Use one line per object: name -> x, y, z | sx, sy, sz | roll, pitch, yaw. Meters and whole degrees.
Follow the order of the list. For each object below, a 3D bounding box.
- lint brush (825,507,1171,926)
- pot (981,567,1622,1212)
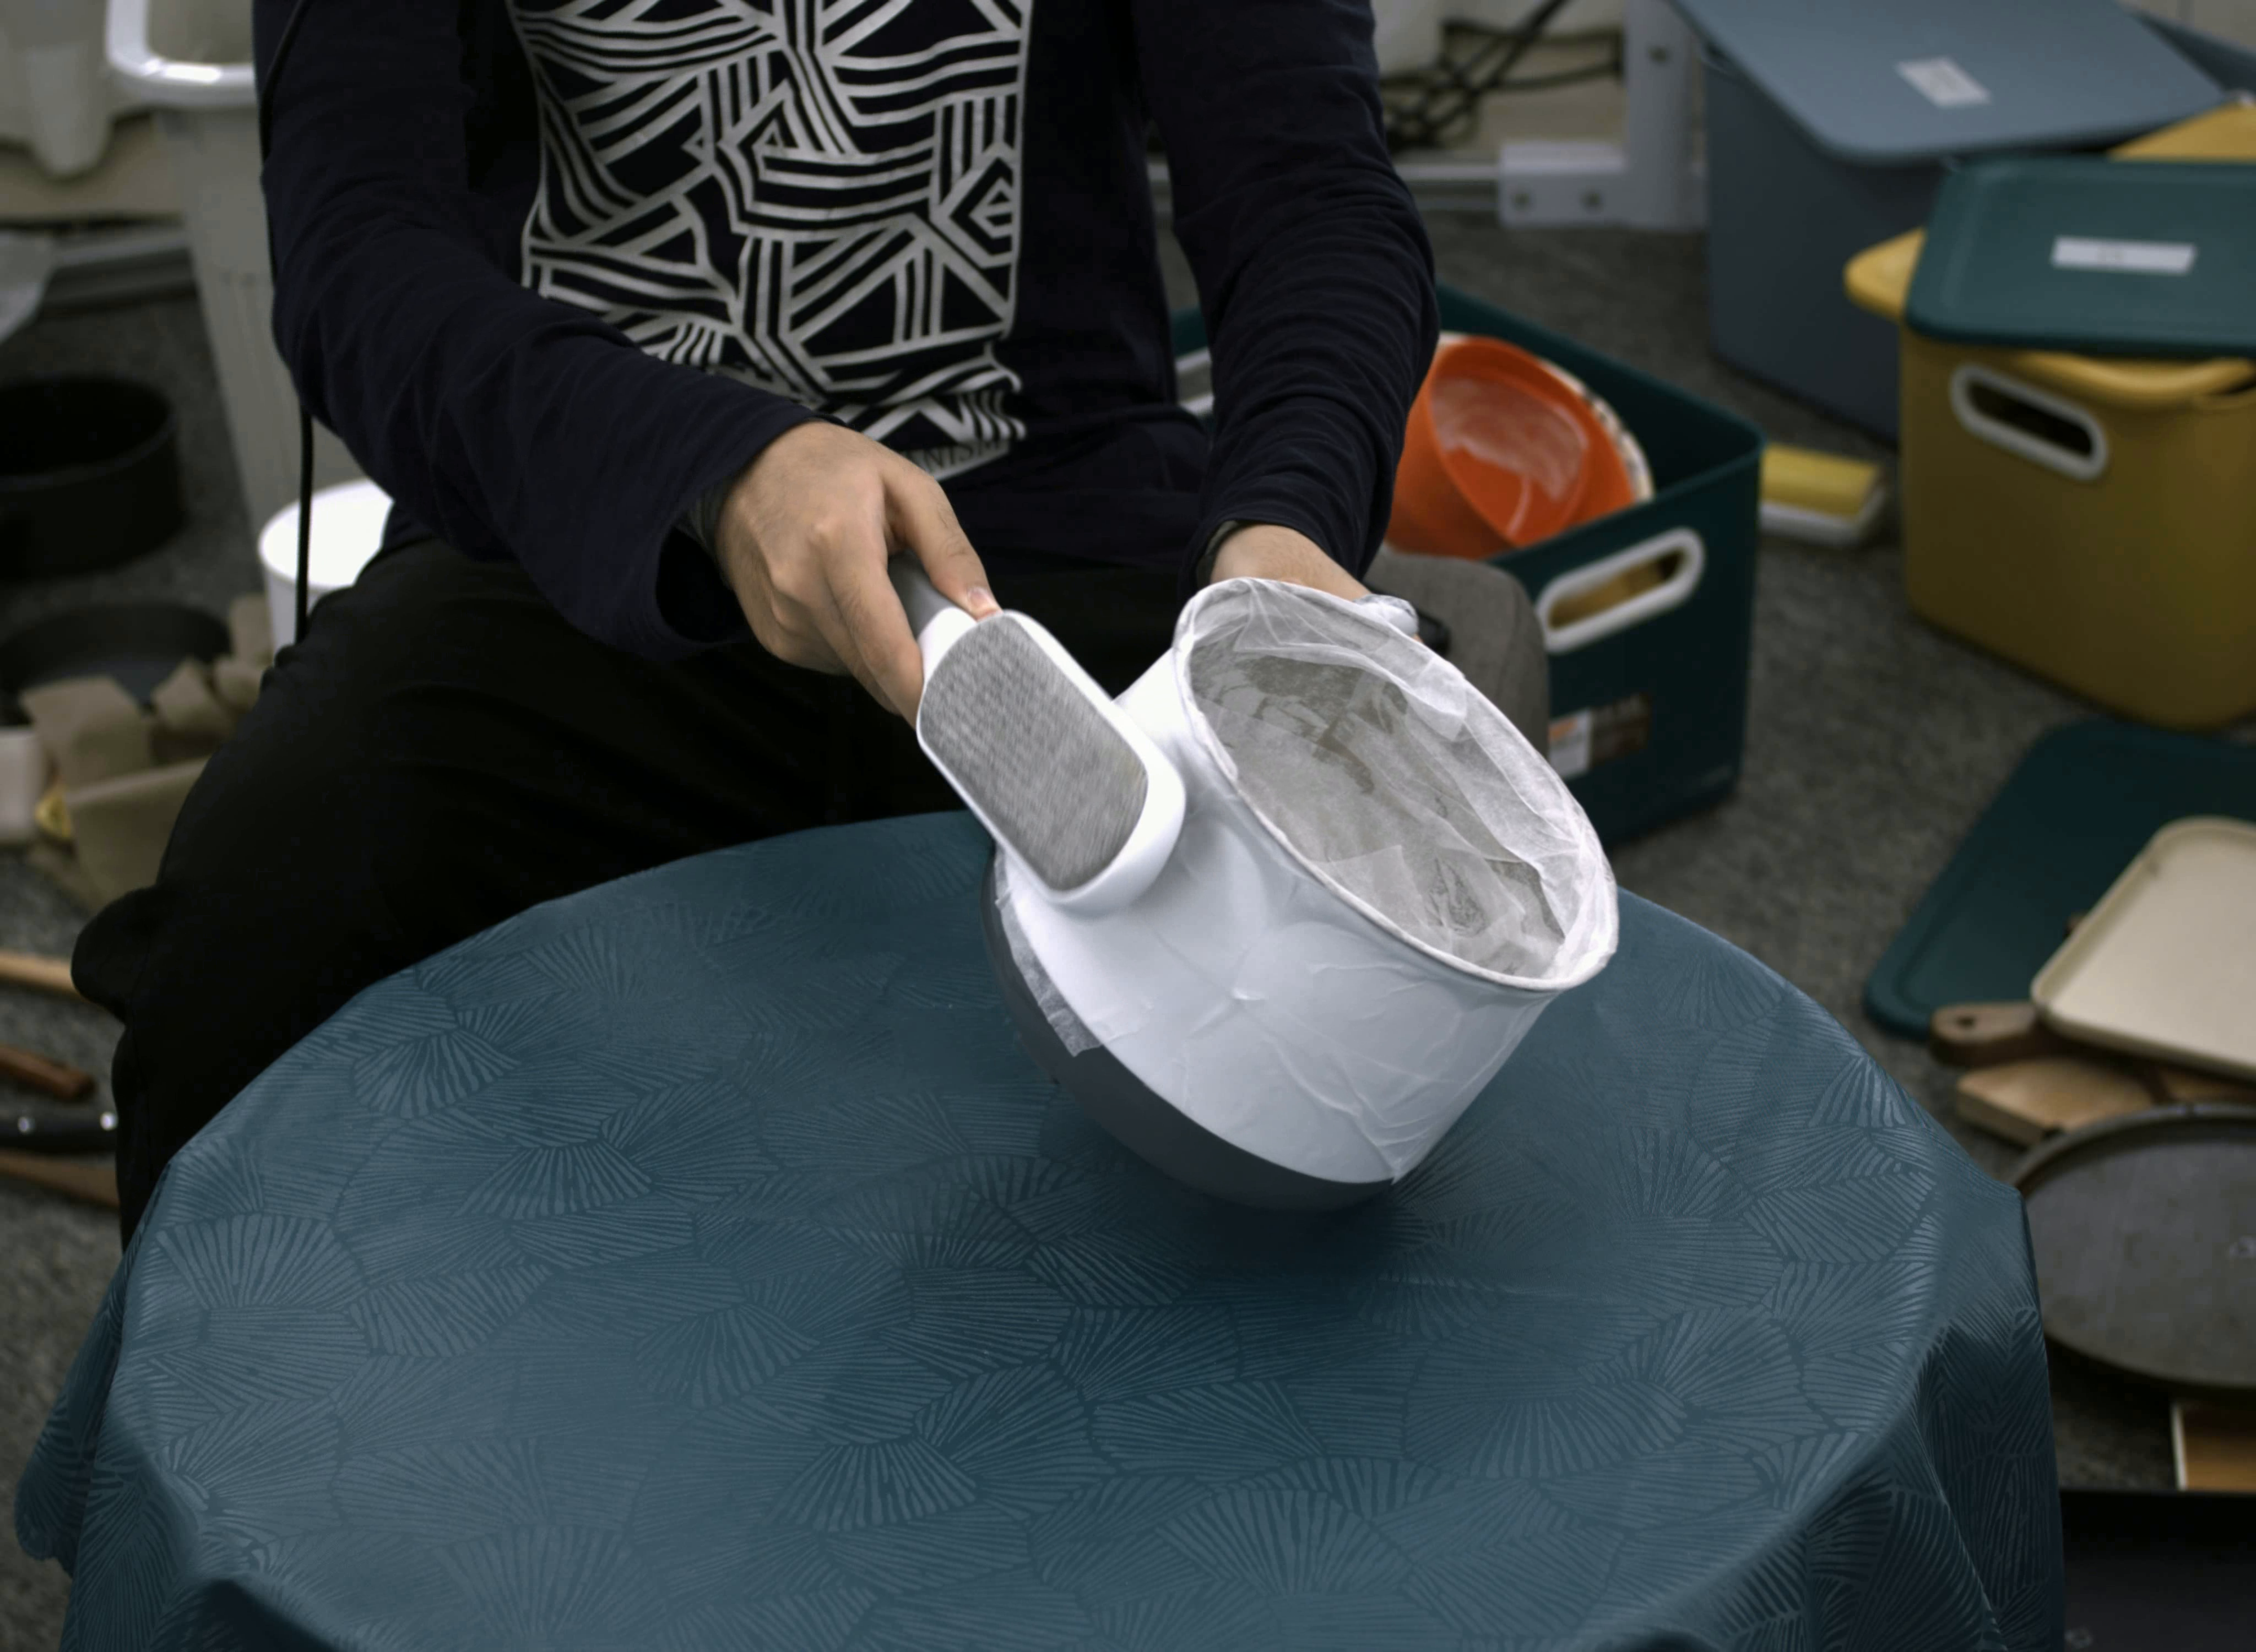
lint brush -> -0.048, -0.045, 1.835 | 0.021, 0.060, 0.311 | 28, 11, -28
pot -> 0.052, 0.009, 1.841 | 0.178, 0.134, 0.238 | 33, 29, -19
